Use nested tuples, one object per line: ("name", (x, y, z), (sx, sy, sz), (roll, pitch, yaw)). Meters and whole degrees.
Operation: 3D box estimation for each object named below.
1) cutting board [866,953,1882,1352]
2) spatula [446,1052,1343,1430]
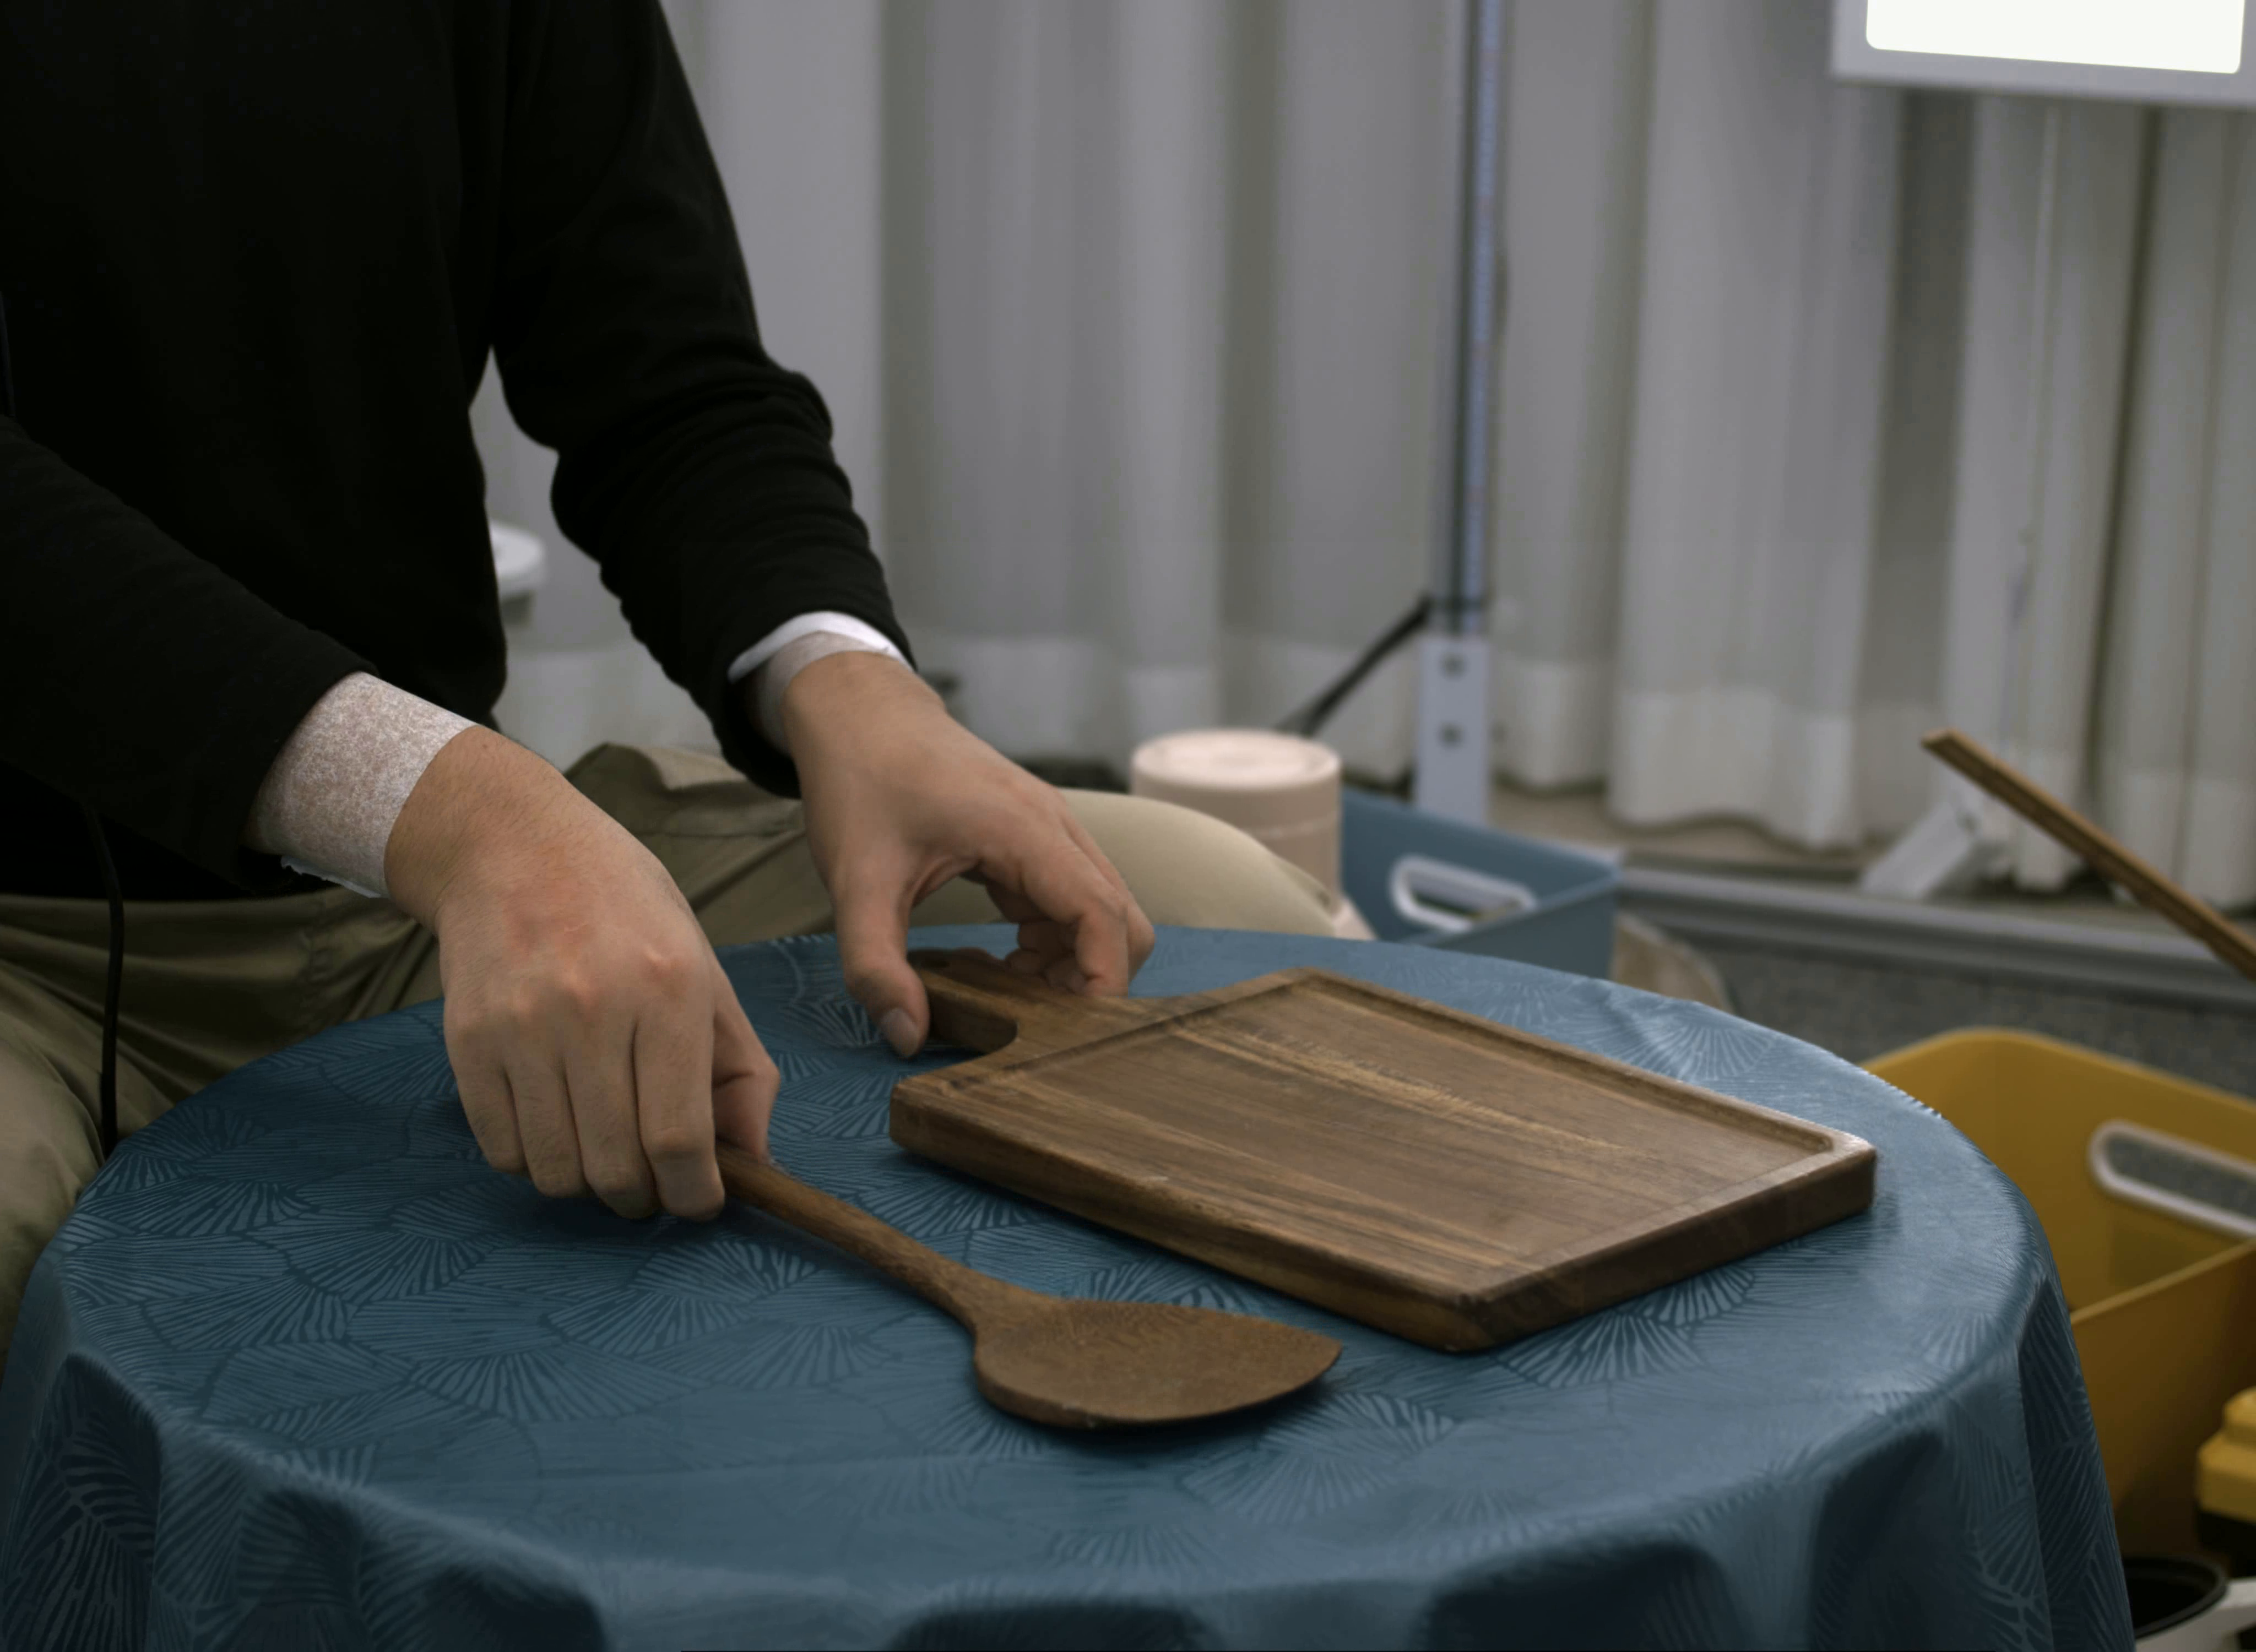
("cutting board", (0.043, 0.088, 1.662), (0.347, 0.023, 0.202), (16, 21, 42))
("spatula", (-0.091, 0.117, 1.564), (0.096, 0.016, 0.380), (-12, 21, -40))
